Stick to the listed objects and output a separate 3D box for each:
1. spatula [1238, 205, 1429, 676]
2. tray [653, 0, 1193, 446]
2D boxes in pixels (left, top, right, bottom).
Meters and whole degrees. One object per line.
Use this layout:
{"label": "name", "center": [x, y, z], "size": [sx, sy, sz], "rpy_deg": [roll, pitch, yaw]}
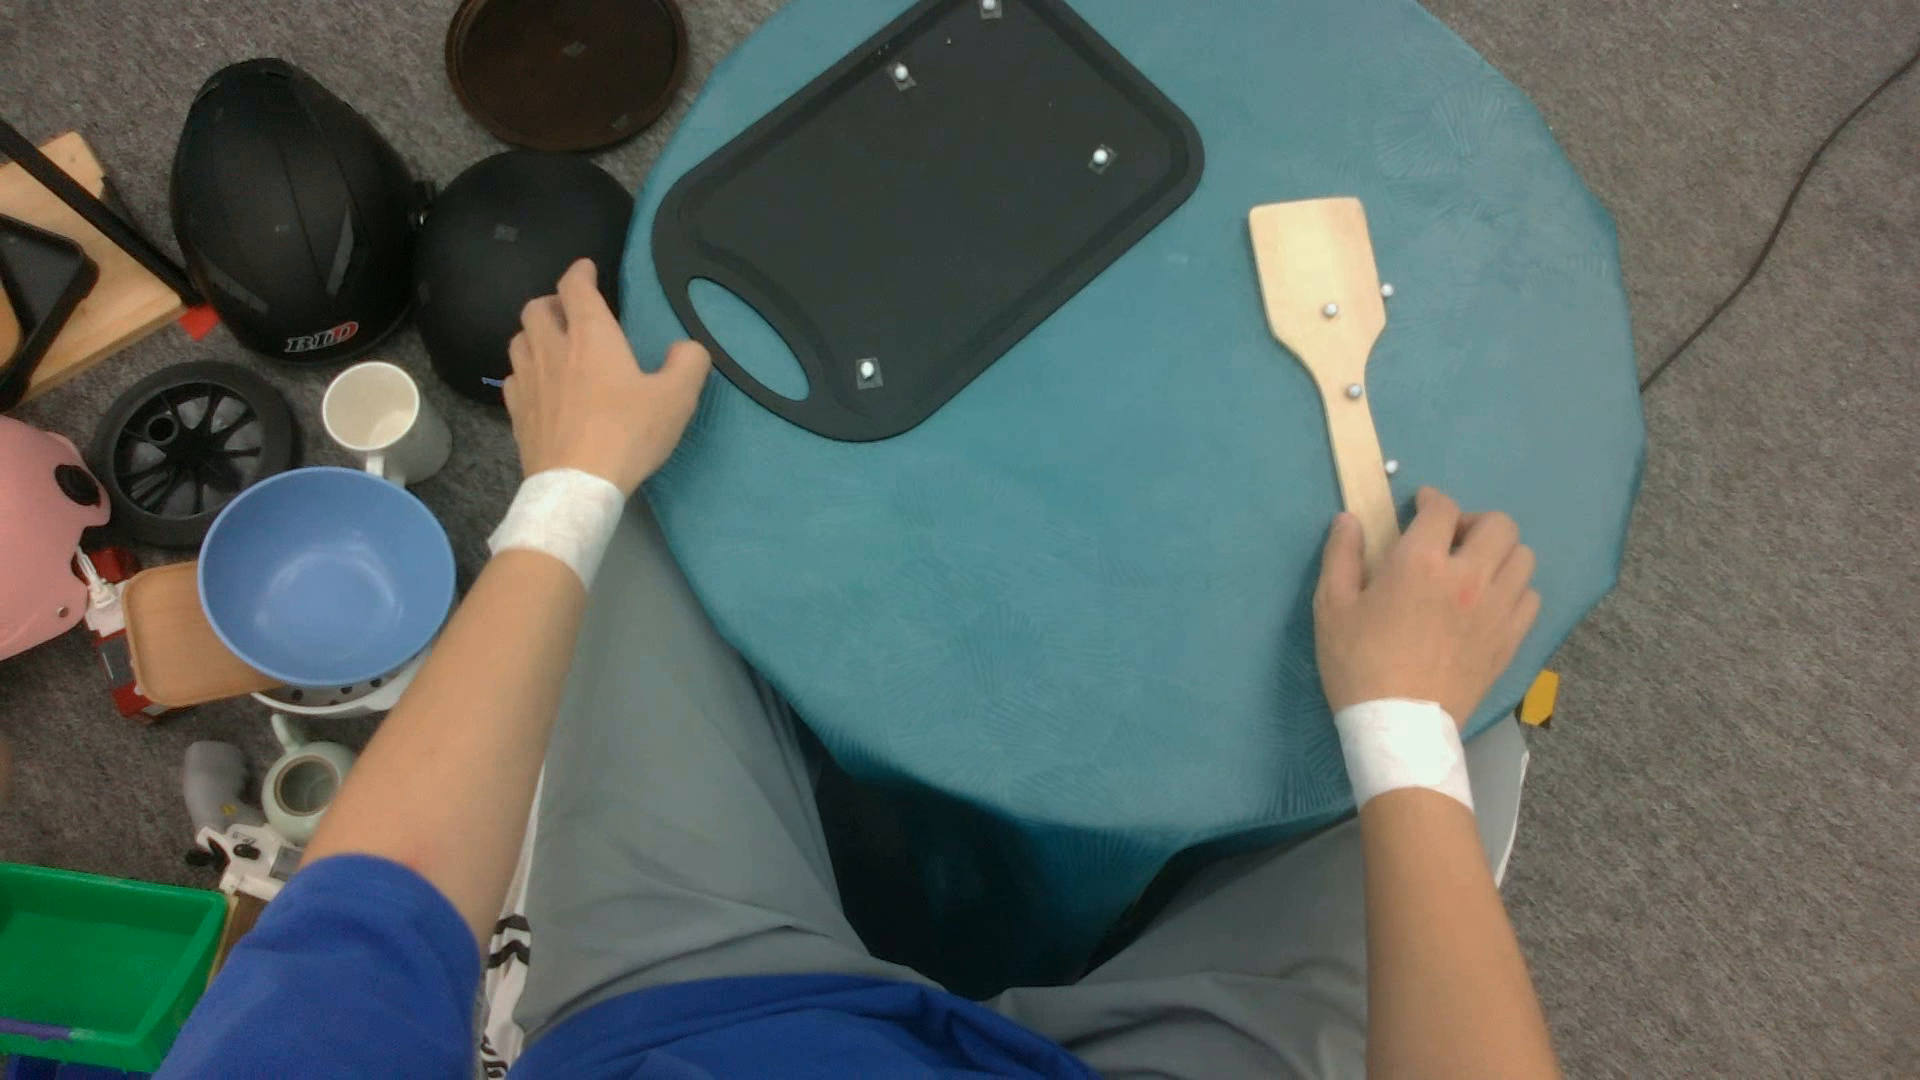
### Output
{"label": "spatula", "center": [0.226, -0.064, 0.801], "size": [0.072, 0.010, 0.293], "rpy_deg": [-8, 73, -5]}
{"label": "tray", "center": [-0.024, -0.202, 0.834], "size": [0.326, 0.010, 0.211], "rpy_deg": [-41, 78, -14]}
